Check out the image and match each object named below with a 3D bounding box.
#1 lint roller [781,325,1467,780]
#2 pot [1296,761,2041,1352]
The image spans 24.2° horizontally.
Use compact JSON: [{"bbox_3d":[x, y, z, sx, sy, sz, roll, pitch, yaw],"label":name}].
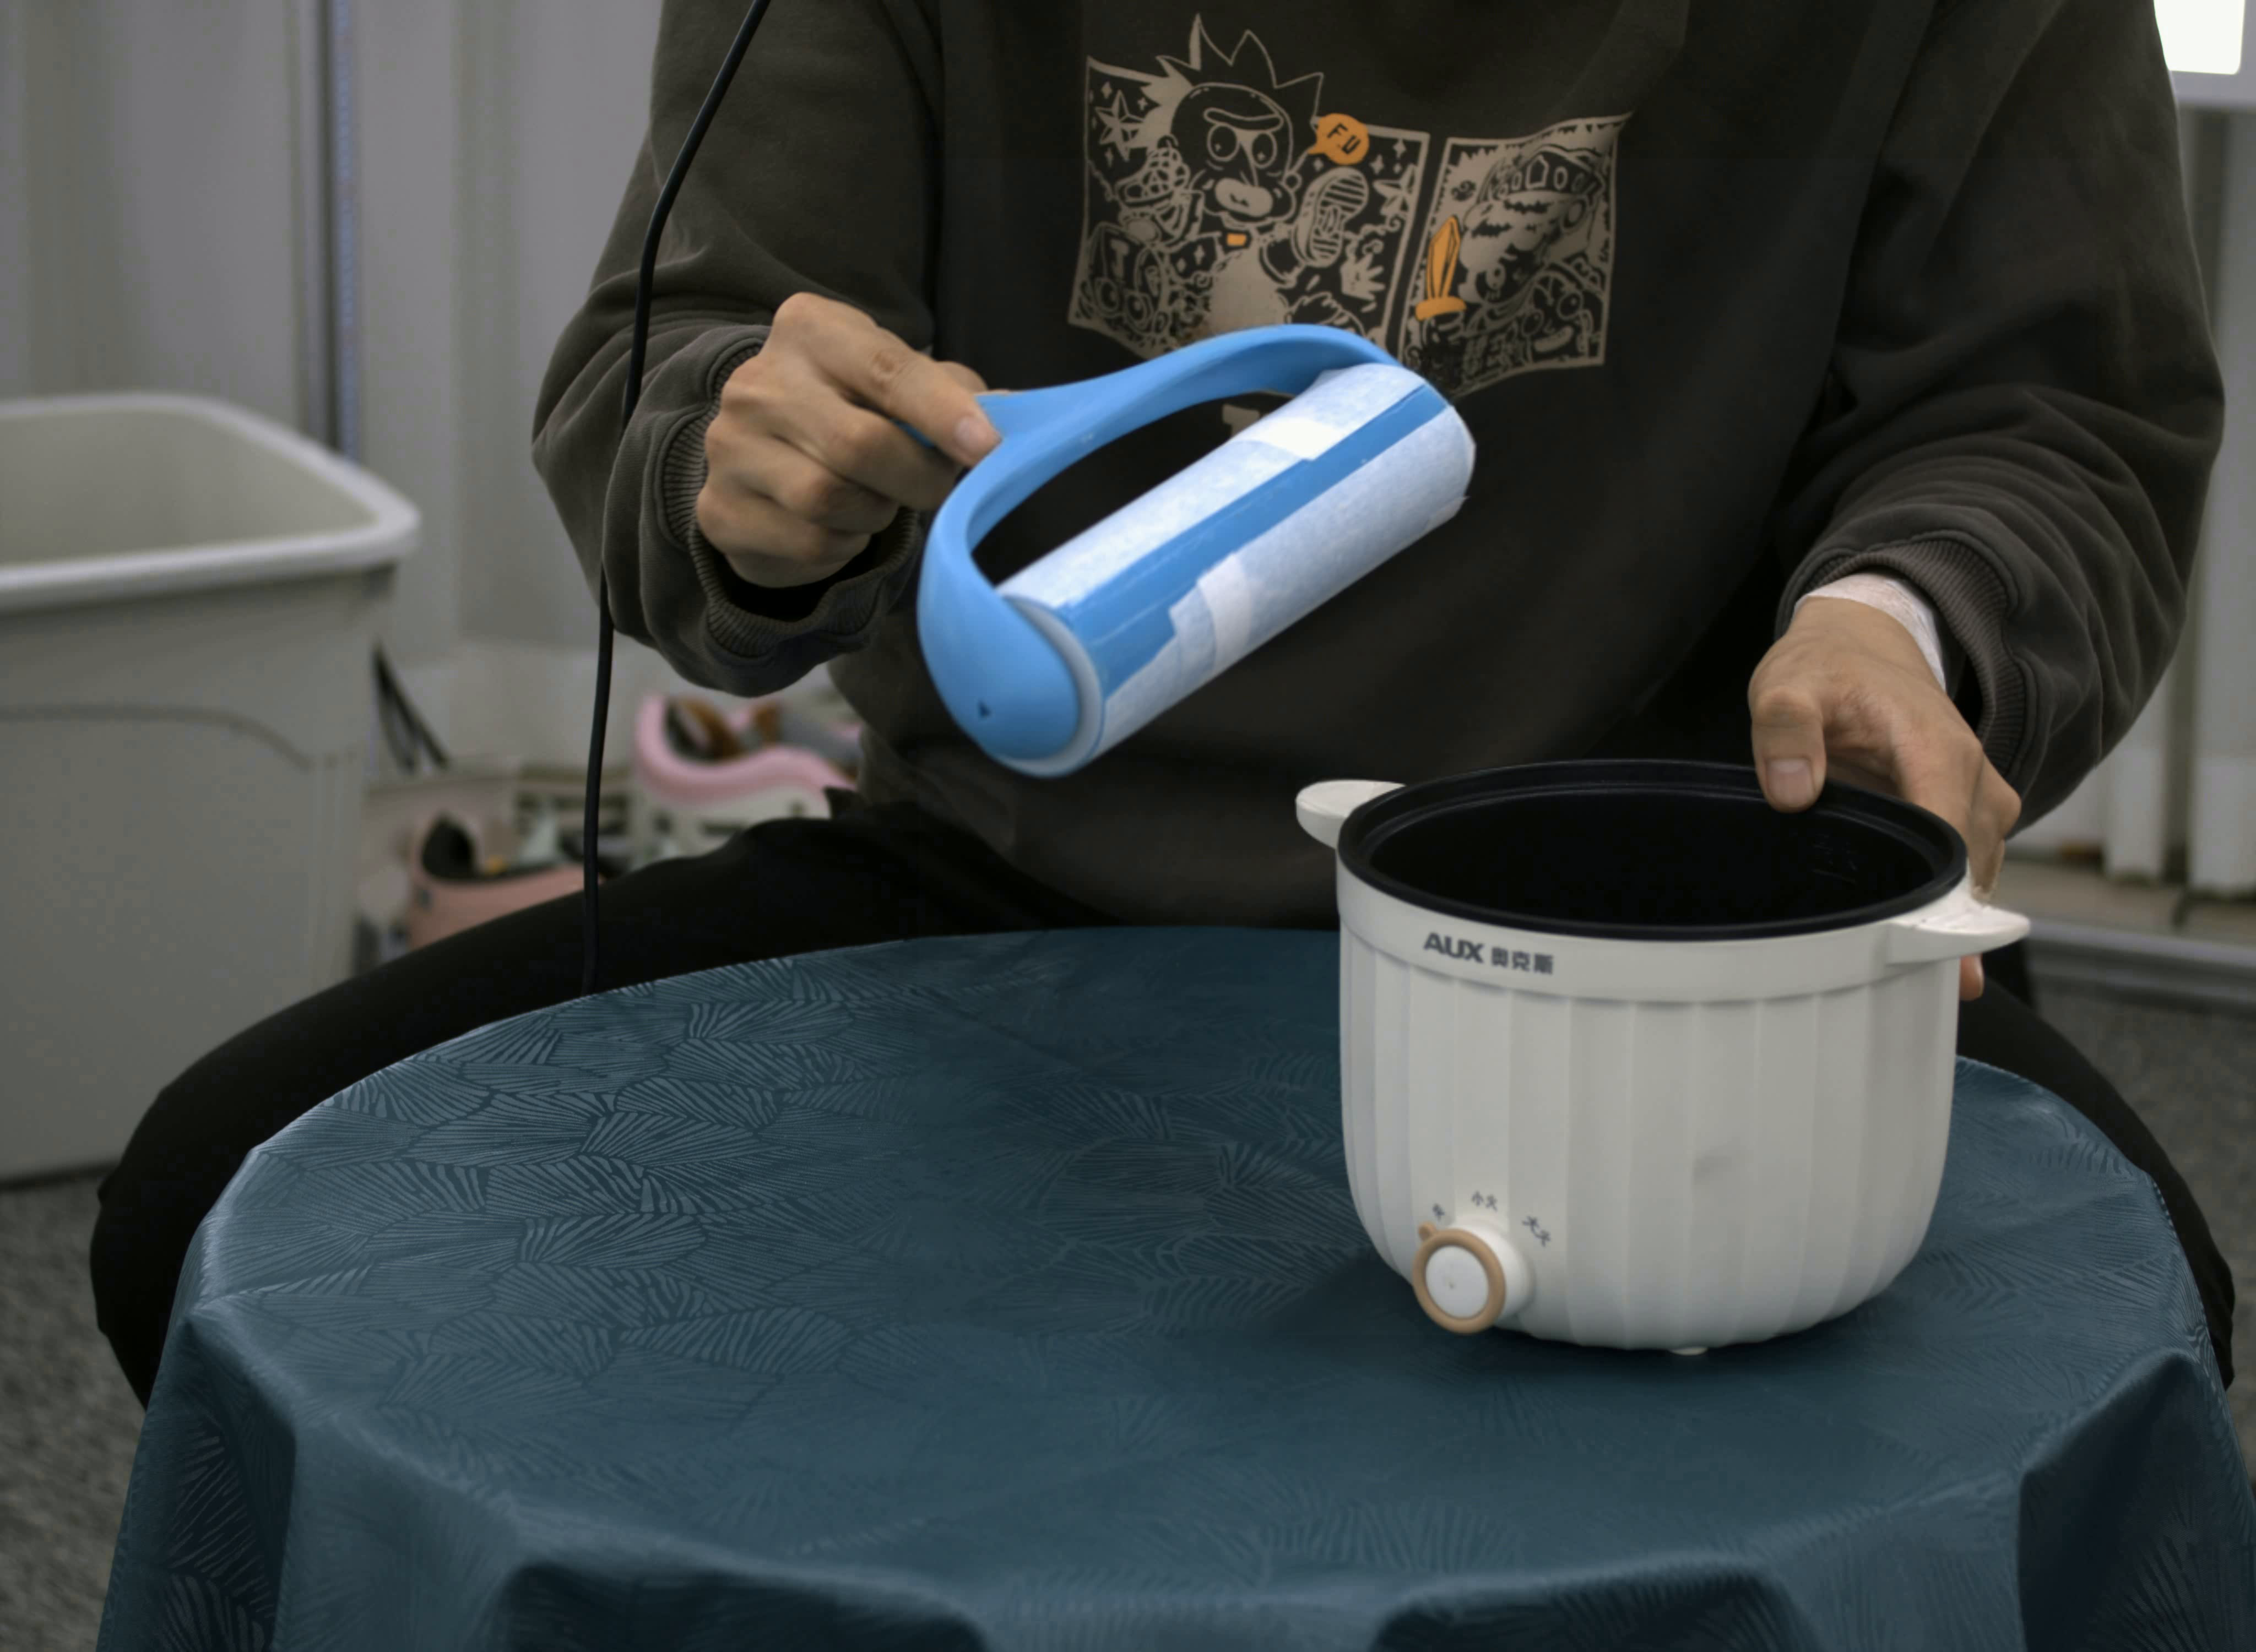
[{"bbox_3d":[-0.026,-0.092,1.506,0.178,0.068,0.229,18,34,25],"label":"lint roller"},{"bbox_3d":[0.149,0.069,1.532,0.237,0.143,0.191,10,15,33],"label":"pot"}]
